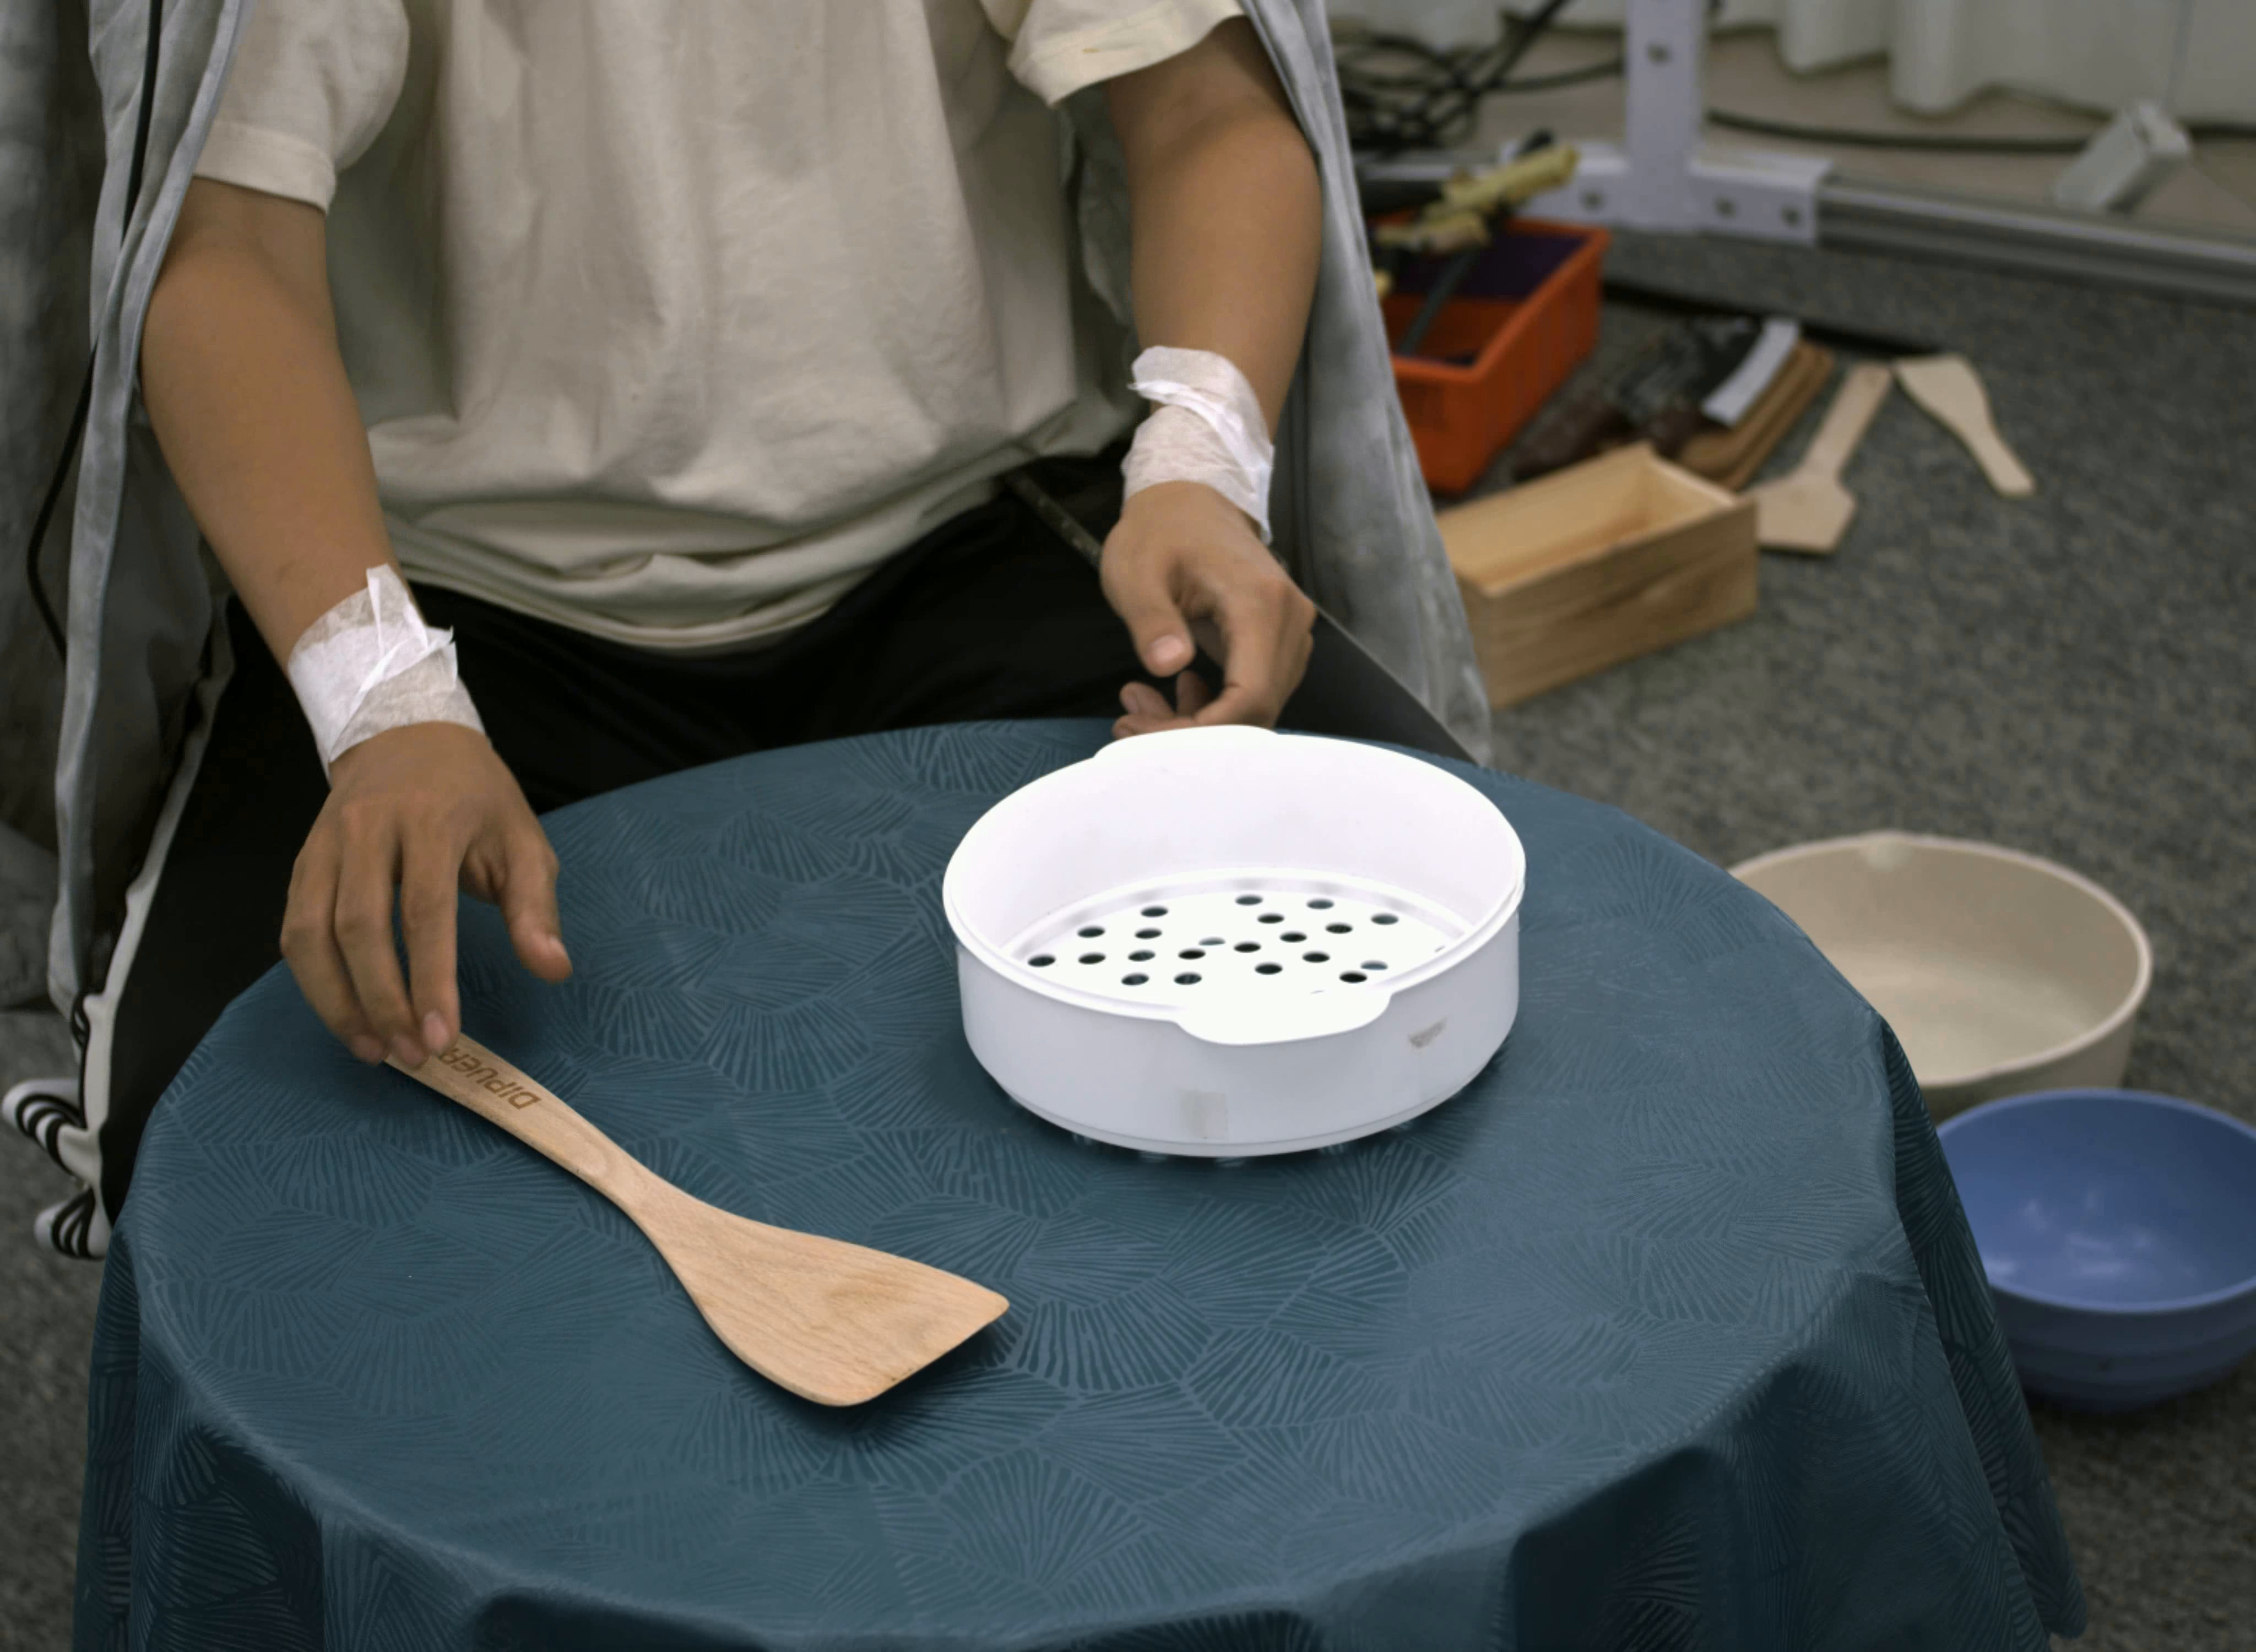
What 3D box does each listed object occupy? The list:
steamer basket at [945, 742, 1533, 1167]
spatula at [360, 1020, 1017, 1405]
[{"bbox_3d":[0.038,0.045,1.934,0.201,0.068,0.233,-5,26,-7],"label":"steamer basket"},{"bbox_3d":[-0.158,0.120,1.859,0.081,0.016,0.327,-22,33,-34],"label":"spatula"}]
